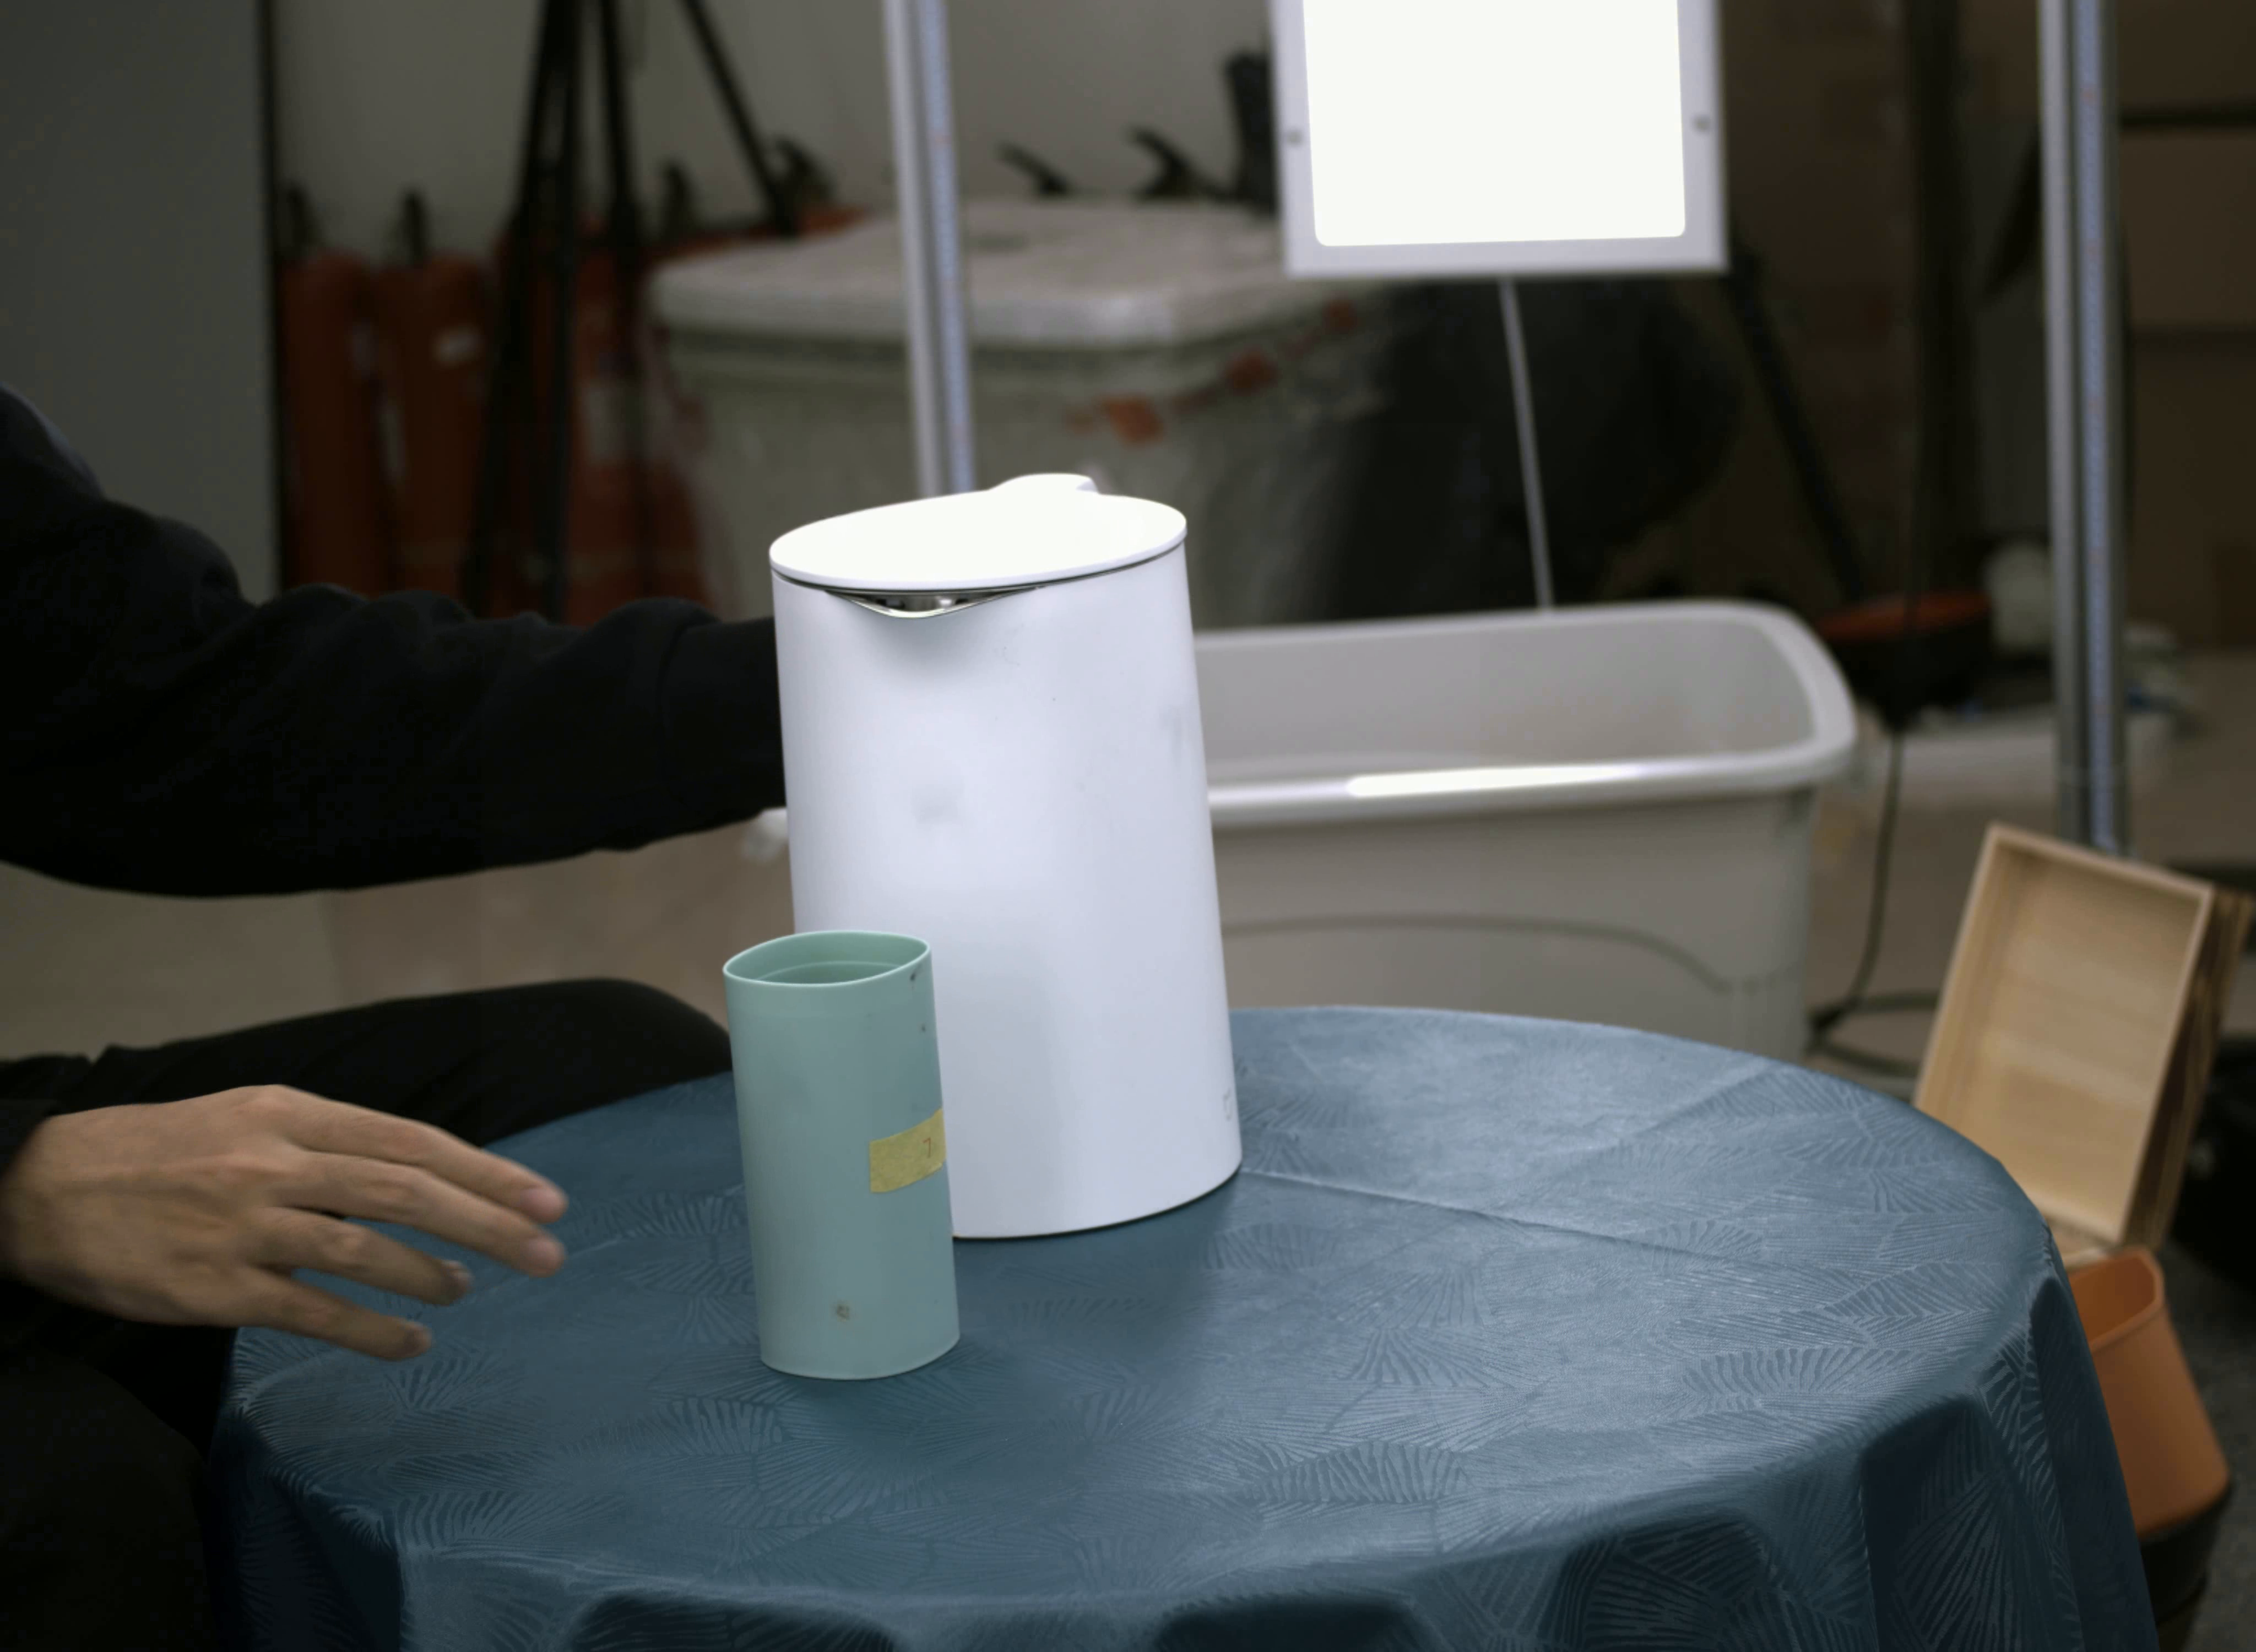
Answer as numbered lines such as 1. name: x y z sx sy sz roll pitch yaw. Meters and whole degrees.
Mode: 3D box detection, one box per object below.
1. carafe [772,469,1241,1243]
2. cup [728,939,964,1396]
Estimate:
1. carafe: -0.036 0.004 1.920 0.153 0.241 0.210 0 15 15
2. cup: -0.090 0.107 1.746 0.066 0.133 0.066 -4 15 0
